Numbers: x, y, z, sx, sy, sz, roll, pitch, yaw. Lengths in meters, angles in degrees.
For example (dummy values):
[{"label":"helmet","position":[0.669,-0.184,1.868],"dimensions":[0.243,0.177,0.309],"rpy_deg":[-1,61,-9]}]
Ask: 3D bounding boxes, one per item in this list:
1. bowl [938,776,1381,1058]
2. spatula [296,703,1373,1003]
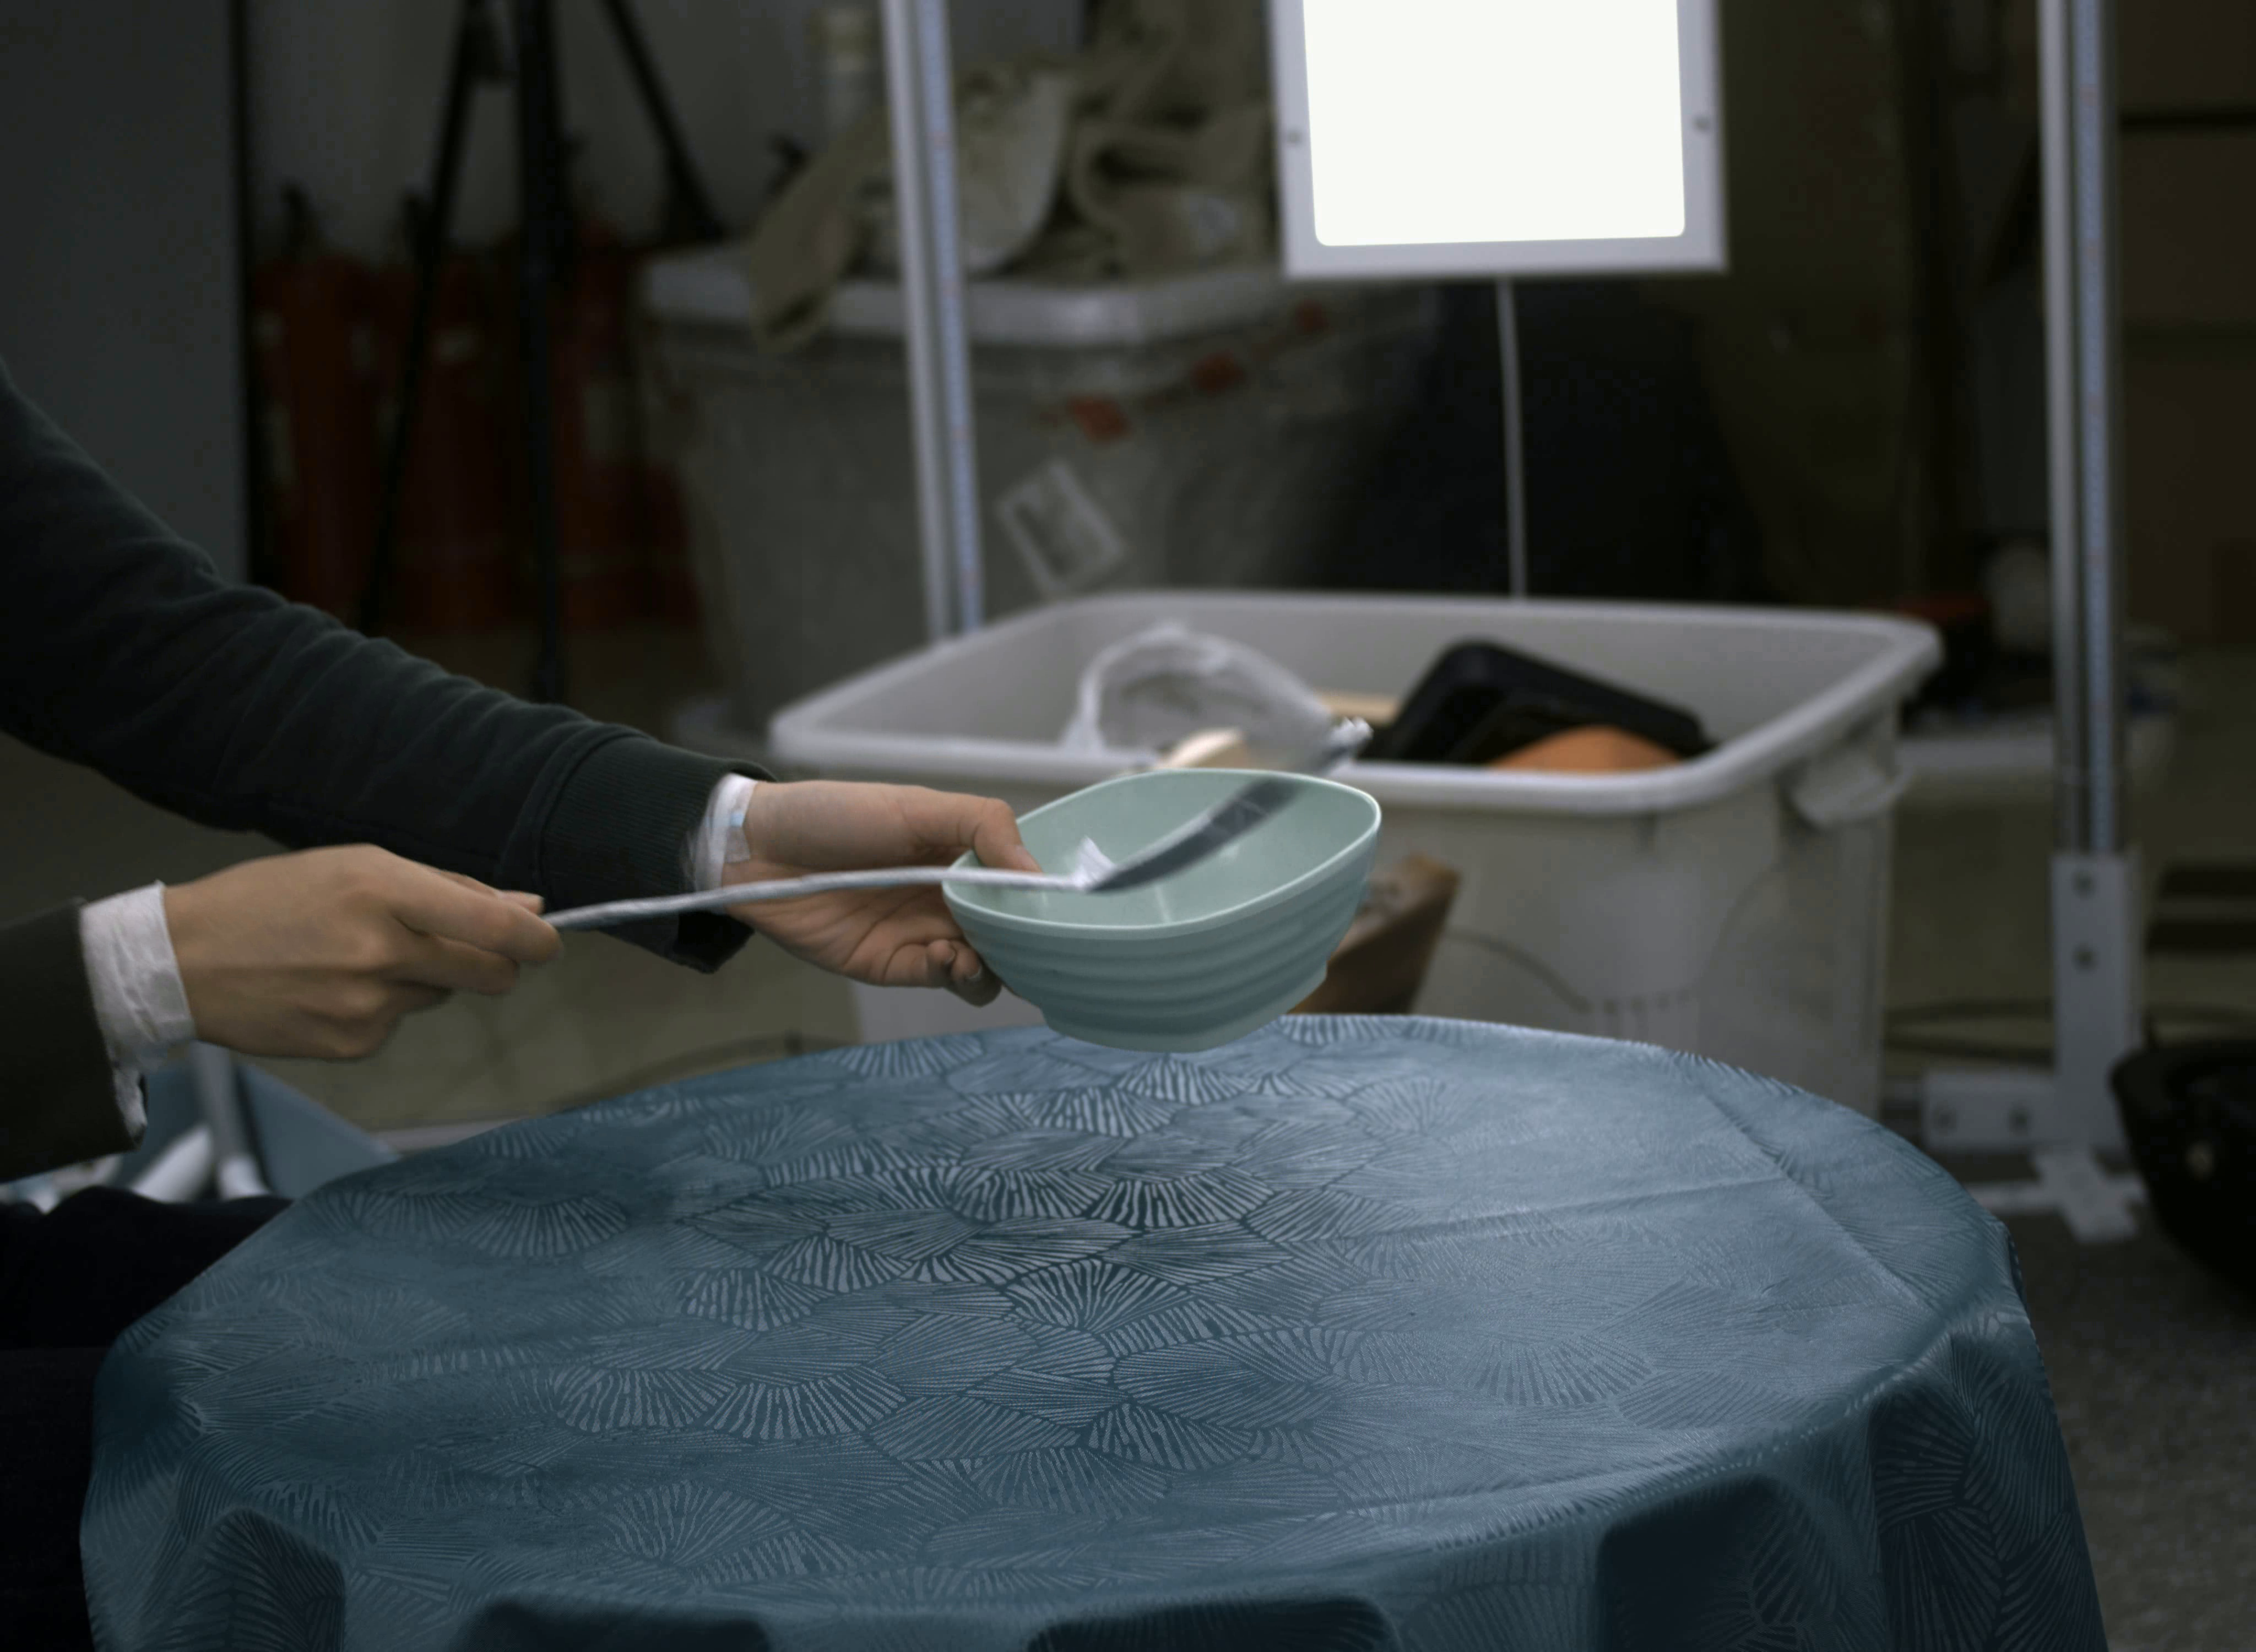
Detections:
[{"label":"bowl","position":[0.014,0.034,1.862],"dimensions":[0.151,0.059,0.151],"rpy_deg":[-8,19,1]},{"label":"spatula","position":[-0.099,0.011,1.724],"dimensions":[0.368,0.045,0.097],"rpy_deg":[-8,5,15]}]
